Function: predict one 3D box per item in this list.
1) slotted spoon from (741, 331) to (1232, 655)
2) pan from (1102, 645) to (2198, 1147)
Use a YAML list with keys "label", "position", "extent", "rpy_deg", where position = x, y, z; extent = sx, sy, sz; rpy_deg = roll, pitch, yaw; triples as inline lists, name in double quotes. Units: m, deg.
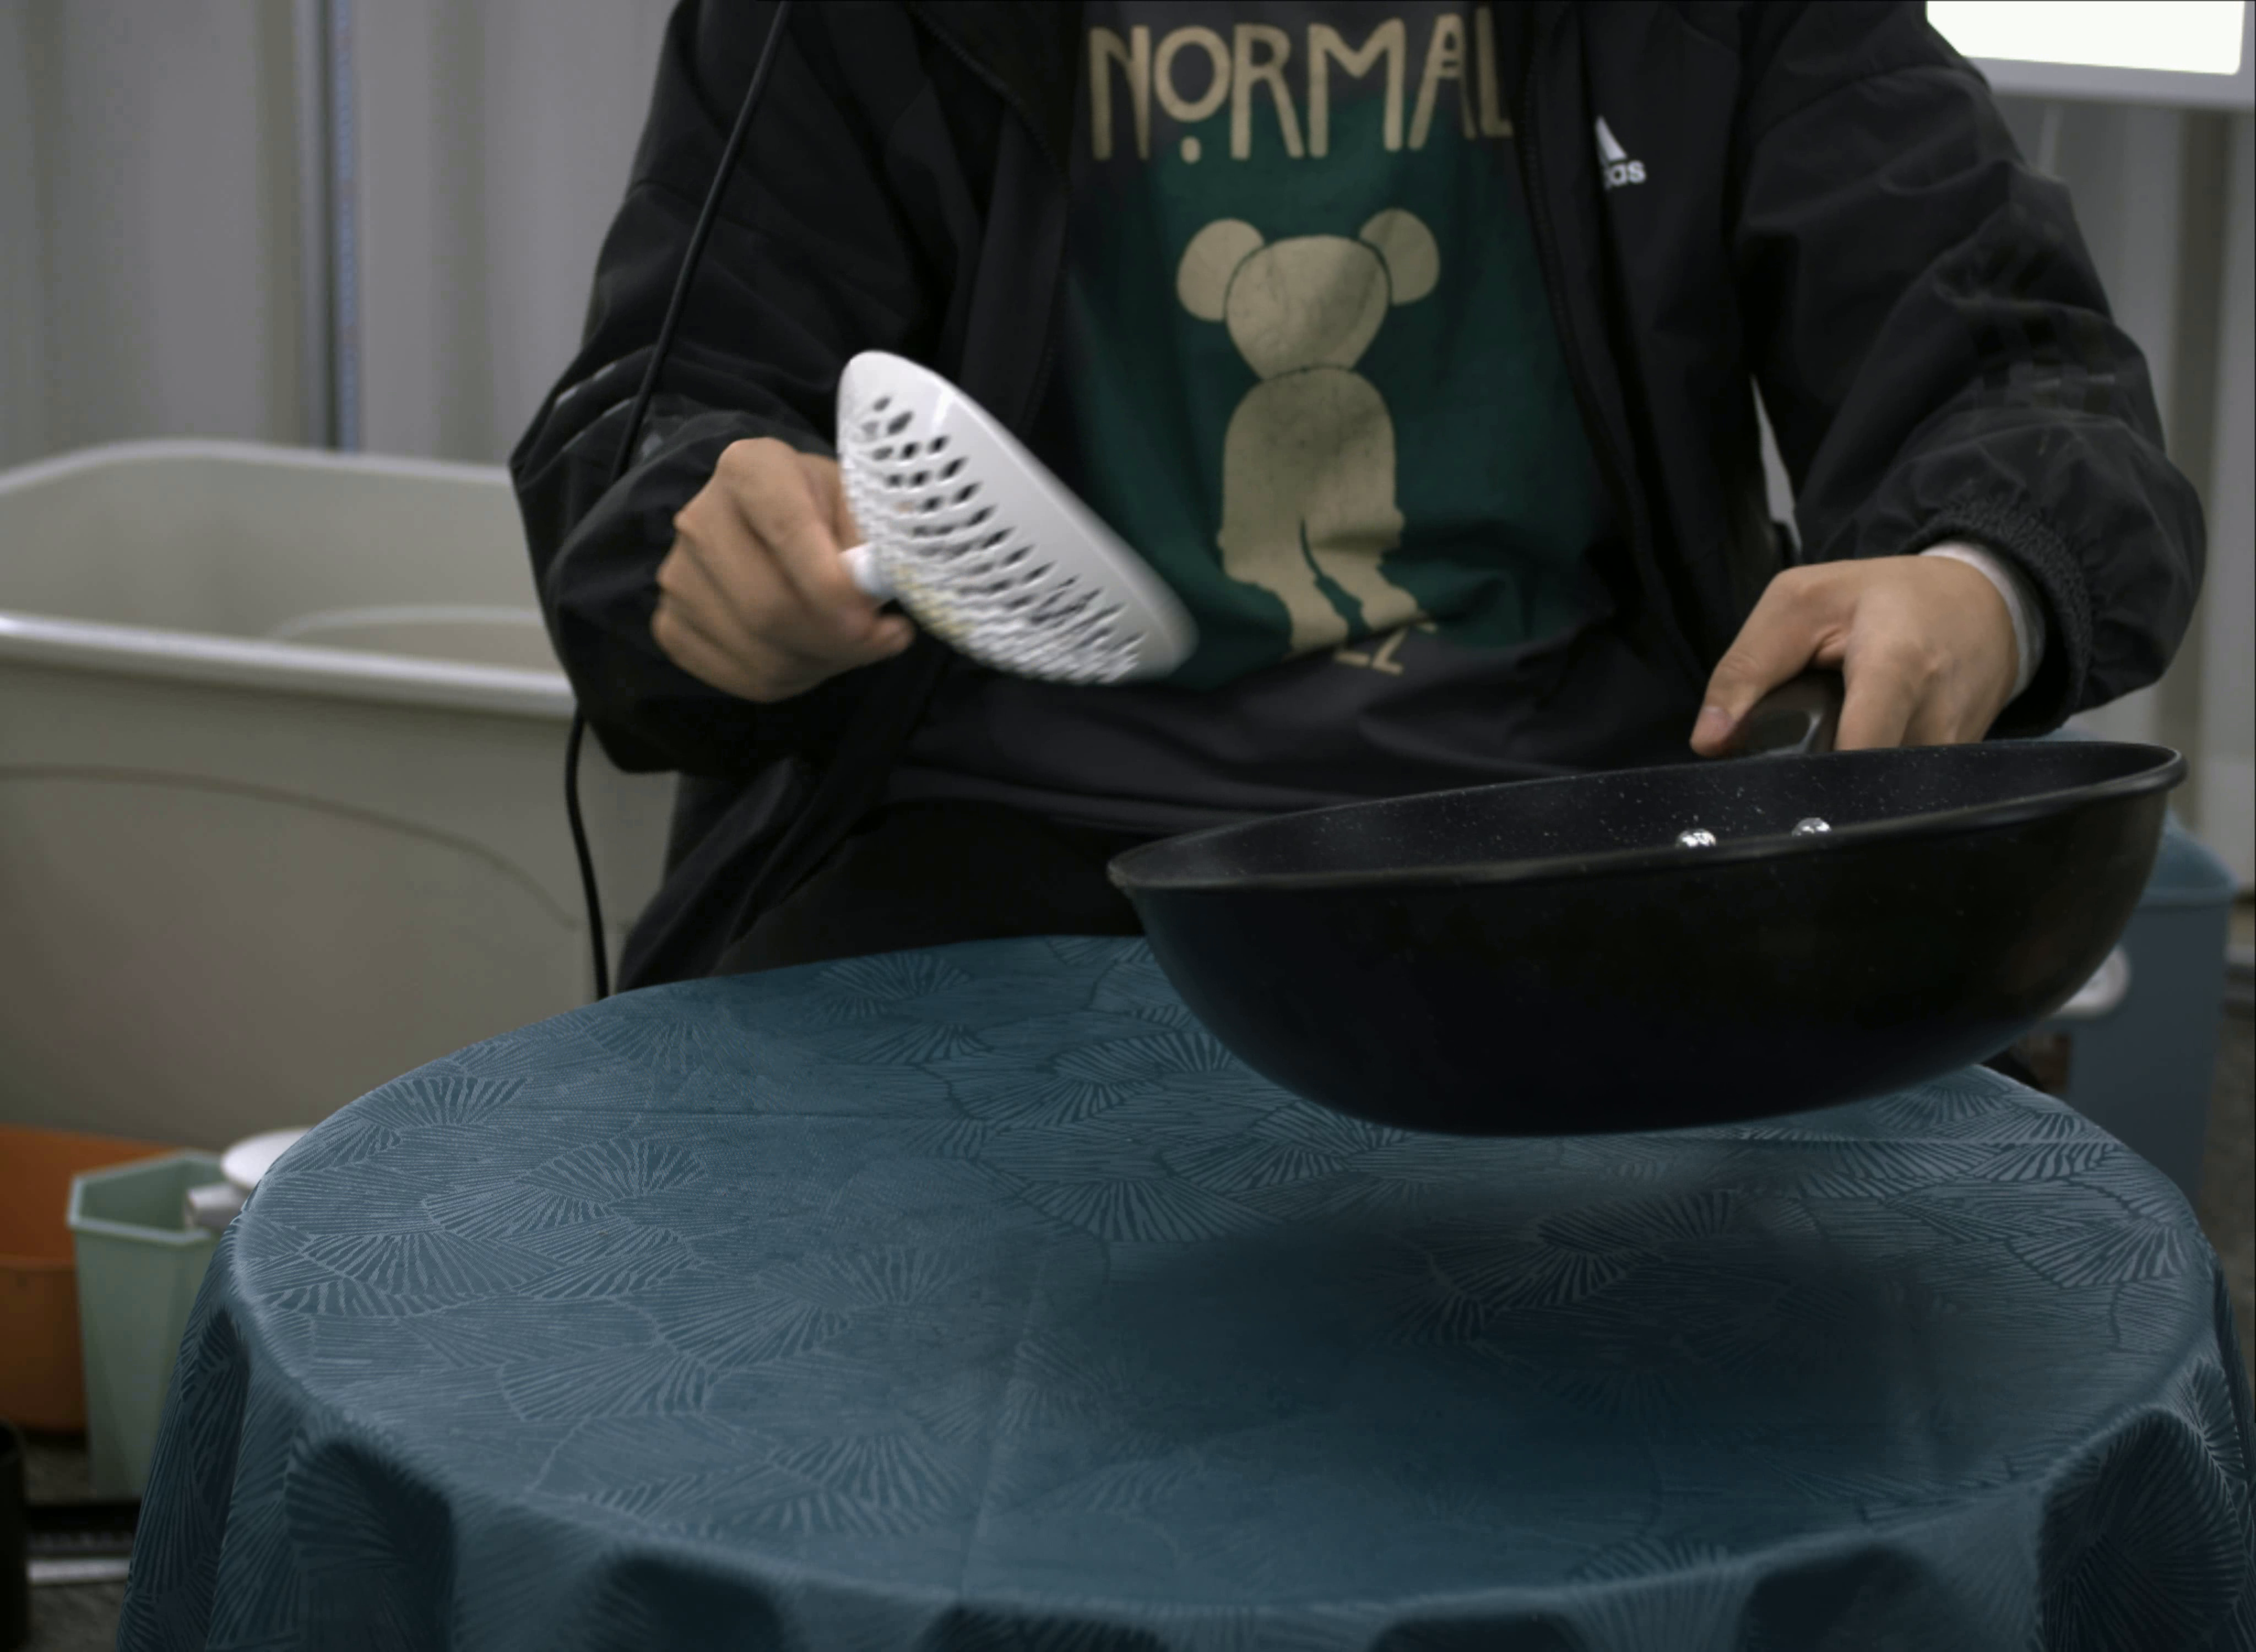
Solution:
- label: "slotted spoon"
  position: [-0.066, -0.082, 1.671]
  extent: [0.137, 0.050, 0.346]
  rpy_deg: [39, -11, -11]
- label: "pan"
  position: [0.175, 0.017, 1.576]
  extent: [0.308, 0.112, 0.478]
  rpy_deg: [-3, 5, 18]
